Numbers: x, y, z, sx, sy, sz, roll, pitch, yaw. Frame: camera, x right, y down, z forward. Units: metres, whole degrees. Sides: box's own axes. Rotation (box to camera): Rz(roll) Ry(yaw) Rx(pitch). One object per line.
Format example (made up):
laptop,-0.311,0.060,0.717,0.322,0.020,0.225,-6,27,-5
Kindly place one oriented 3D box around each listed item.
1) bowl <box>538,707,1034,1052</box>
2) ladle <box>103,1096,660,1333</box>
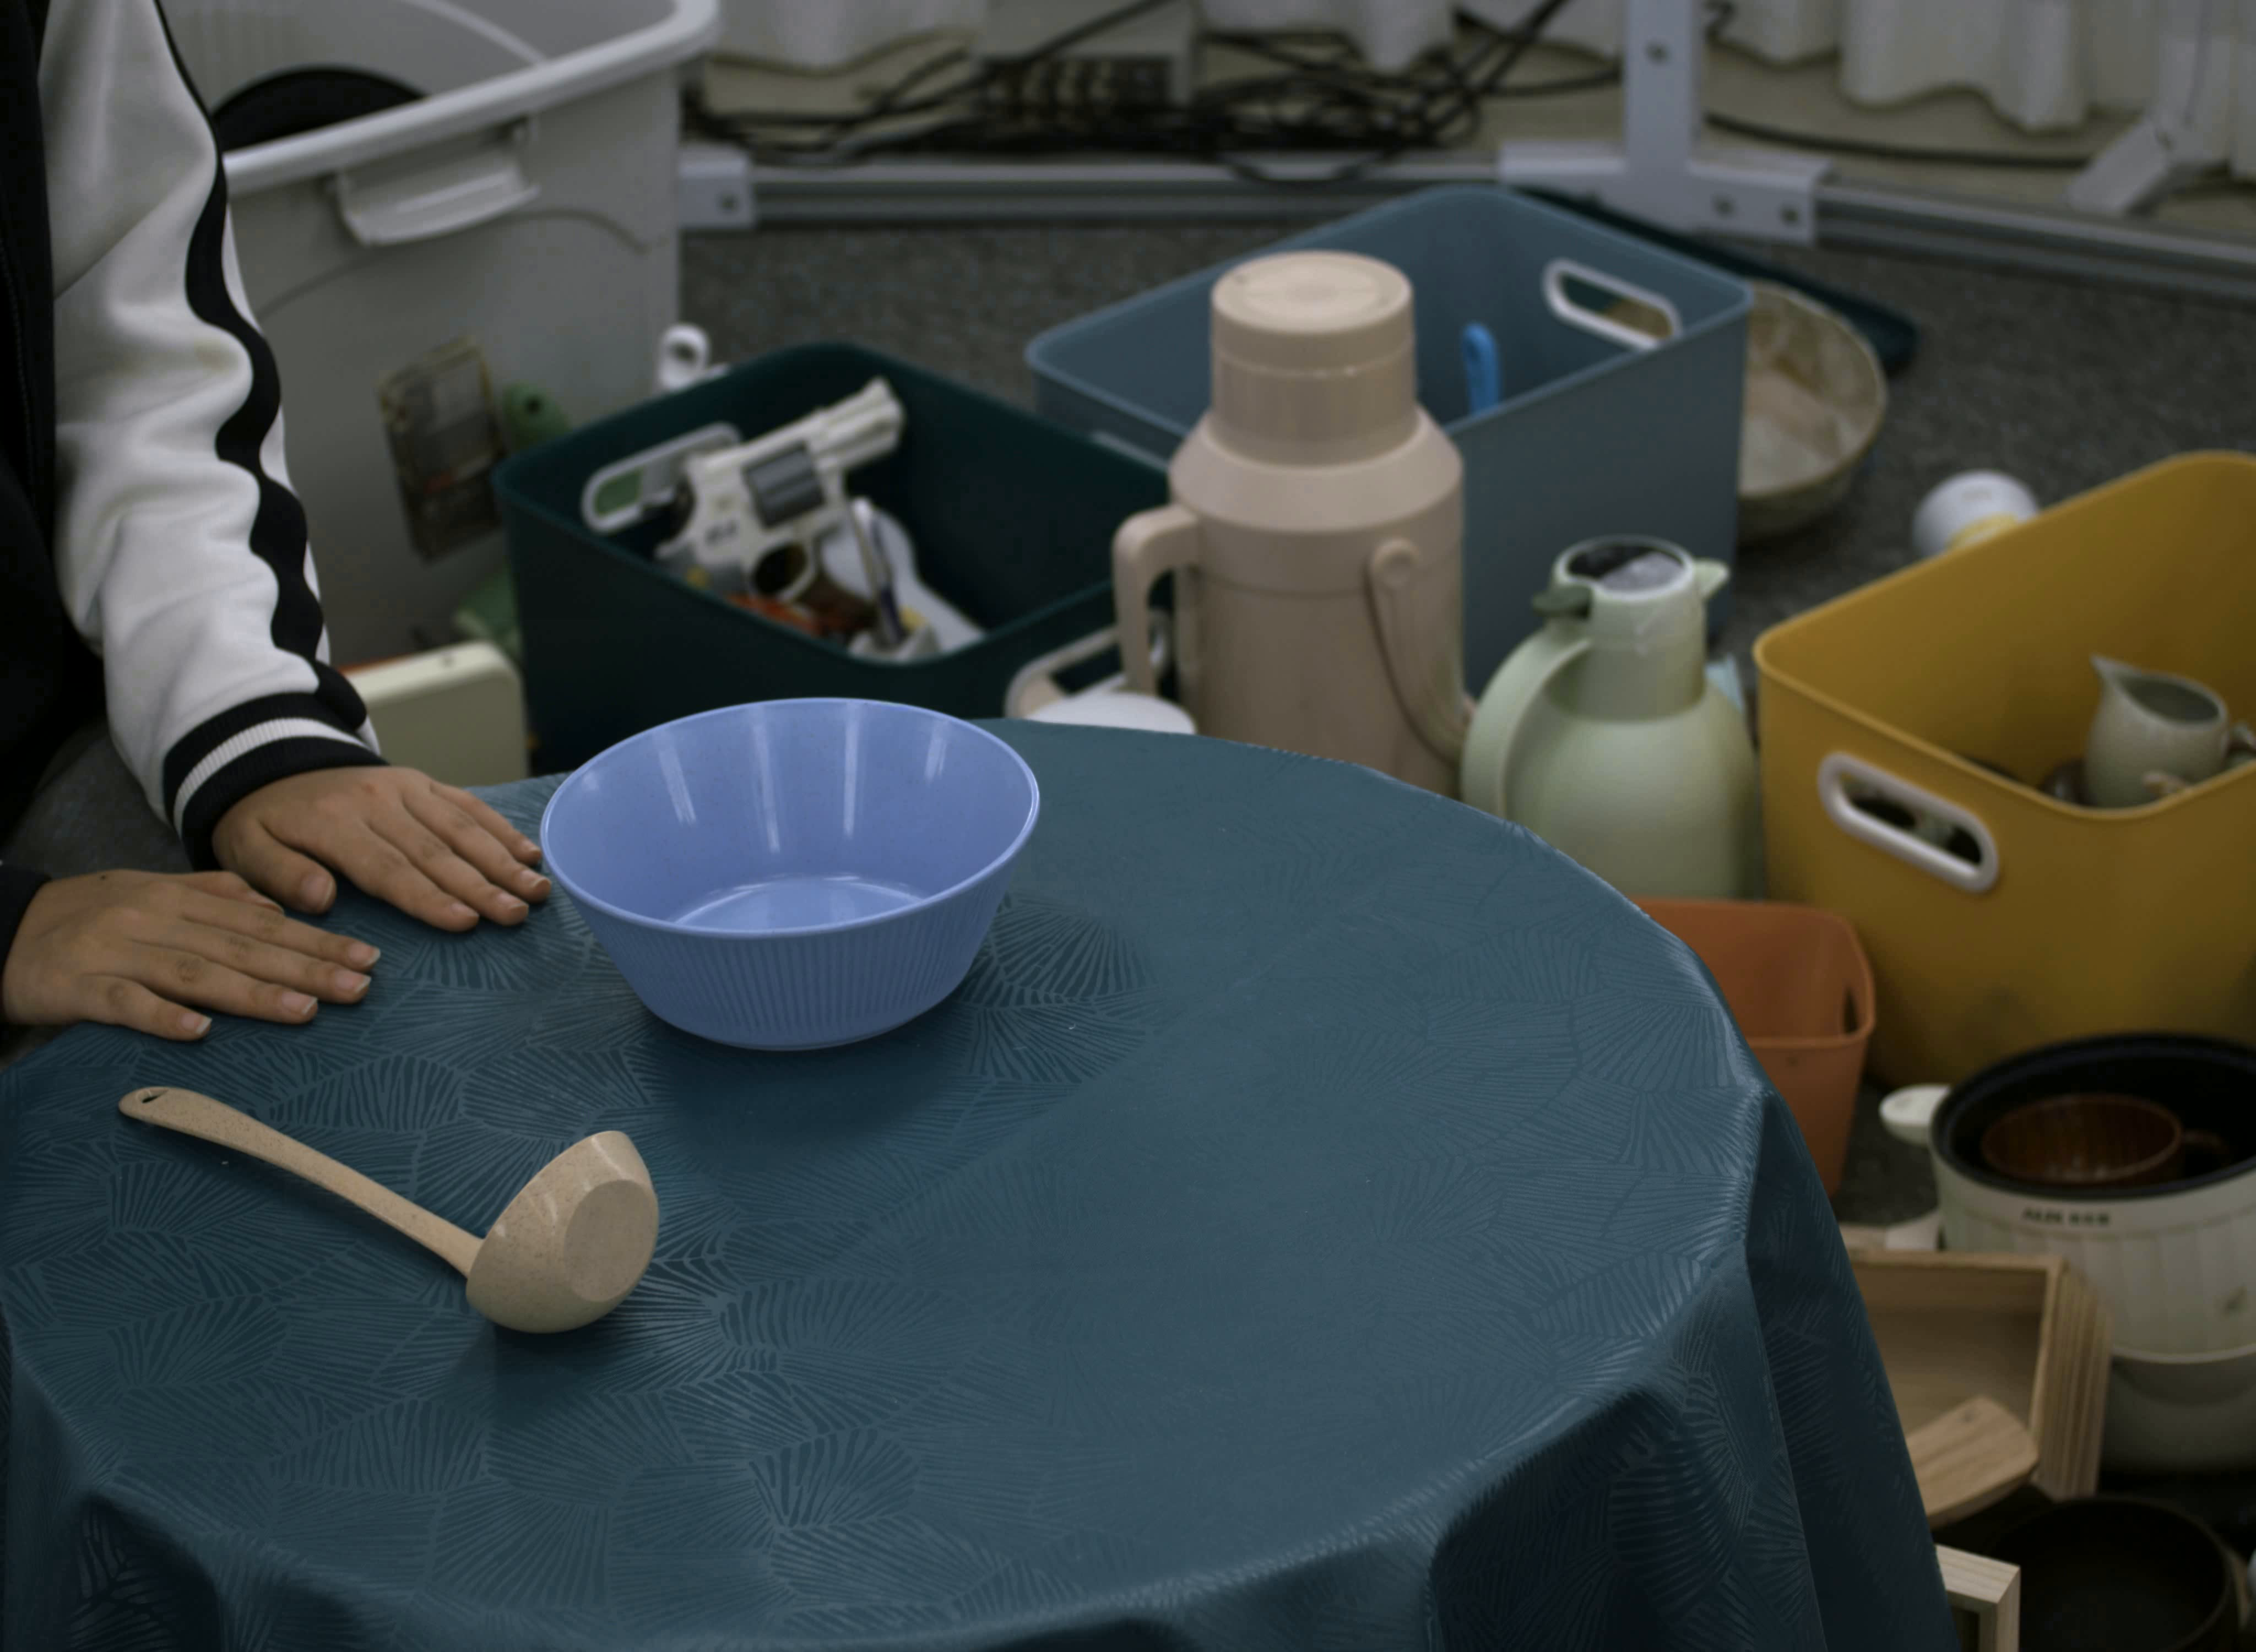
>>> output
bowl,-0.119,0.025,1.986,0.175,0.069,0.179,-2,26,1
ladle,-0.258,0.101,1.848,0.253,0.072,0.073,19,39,36
